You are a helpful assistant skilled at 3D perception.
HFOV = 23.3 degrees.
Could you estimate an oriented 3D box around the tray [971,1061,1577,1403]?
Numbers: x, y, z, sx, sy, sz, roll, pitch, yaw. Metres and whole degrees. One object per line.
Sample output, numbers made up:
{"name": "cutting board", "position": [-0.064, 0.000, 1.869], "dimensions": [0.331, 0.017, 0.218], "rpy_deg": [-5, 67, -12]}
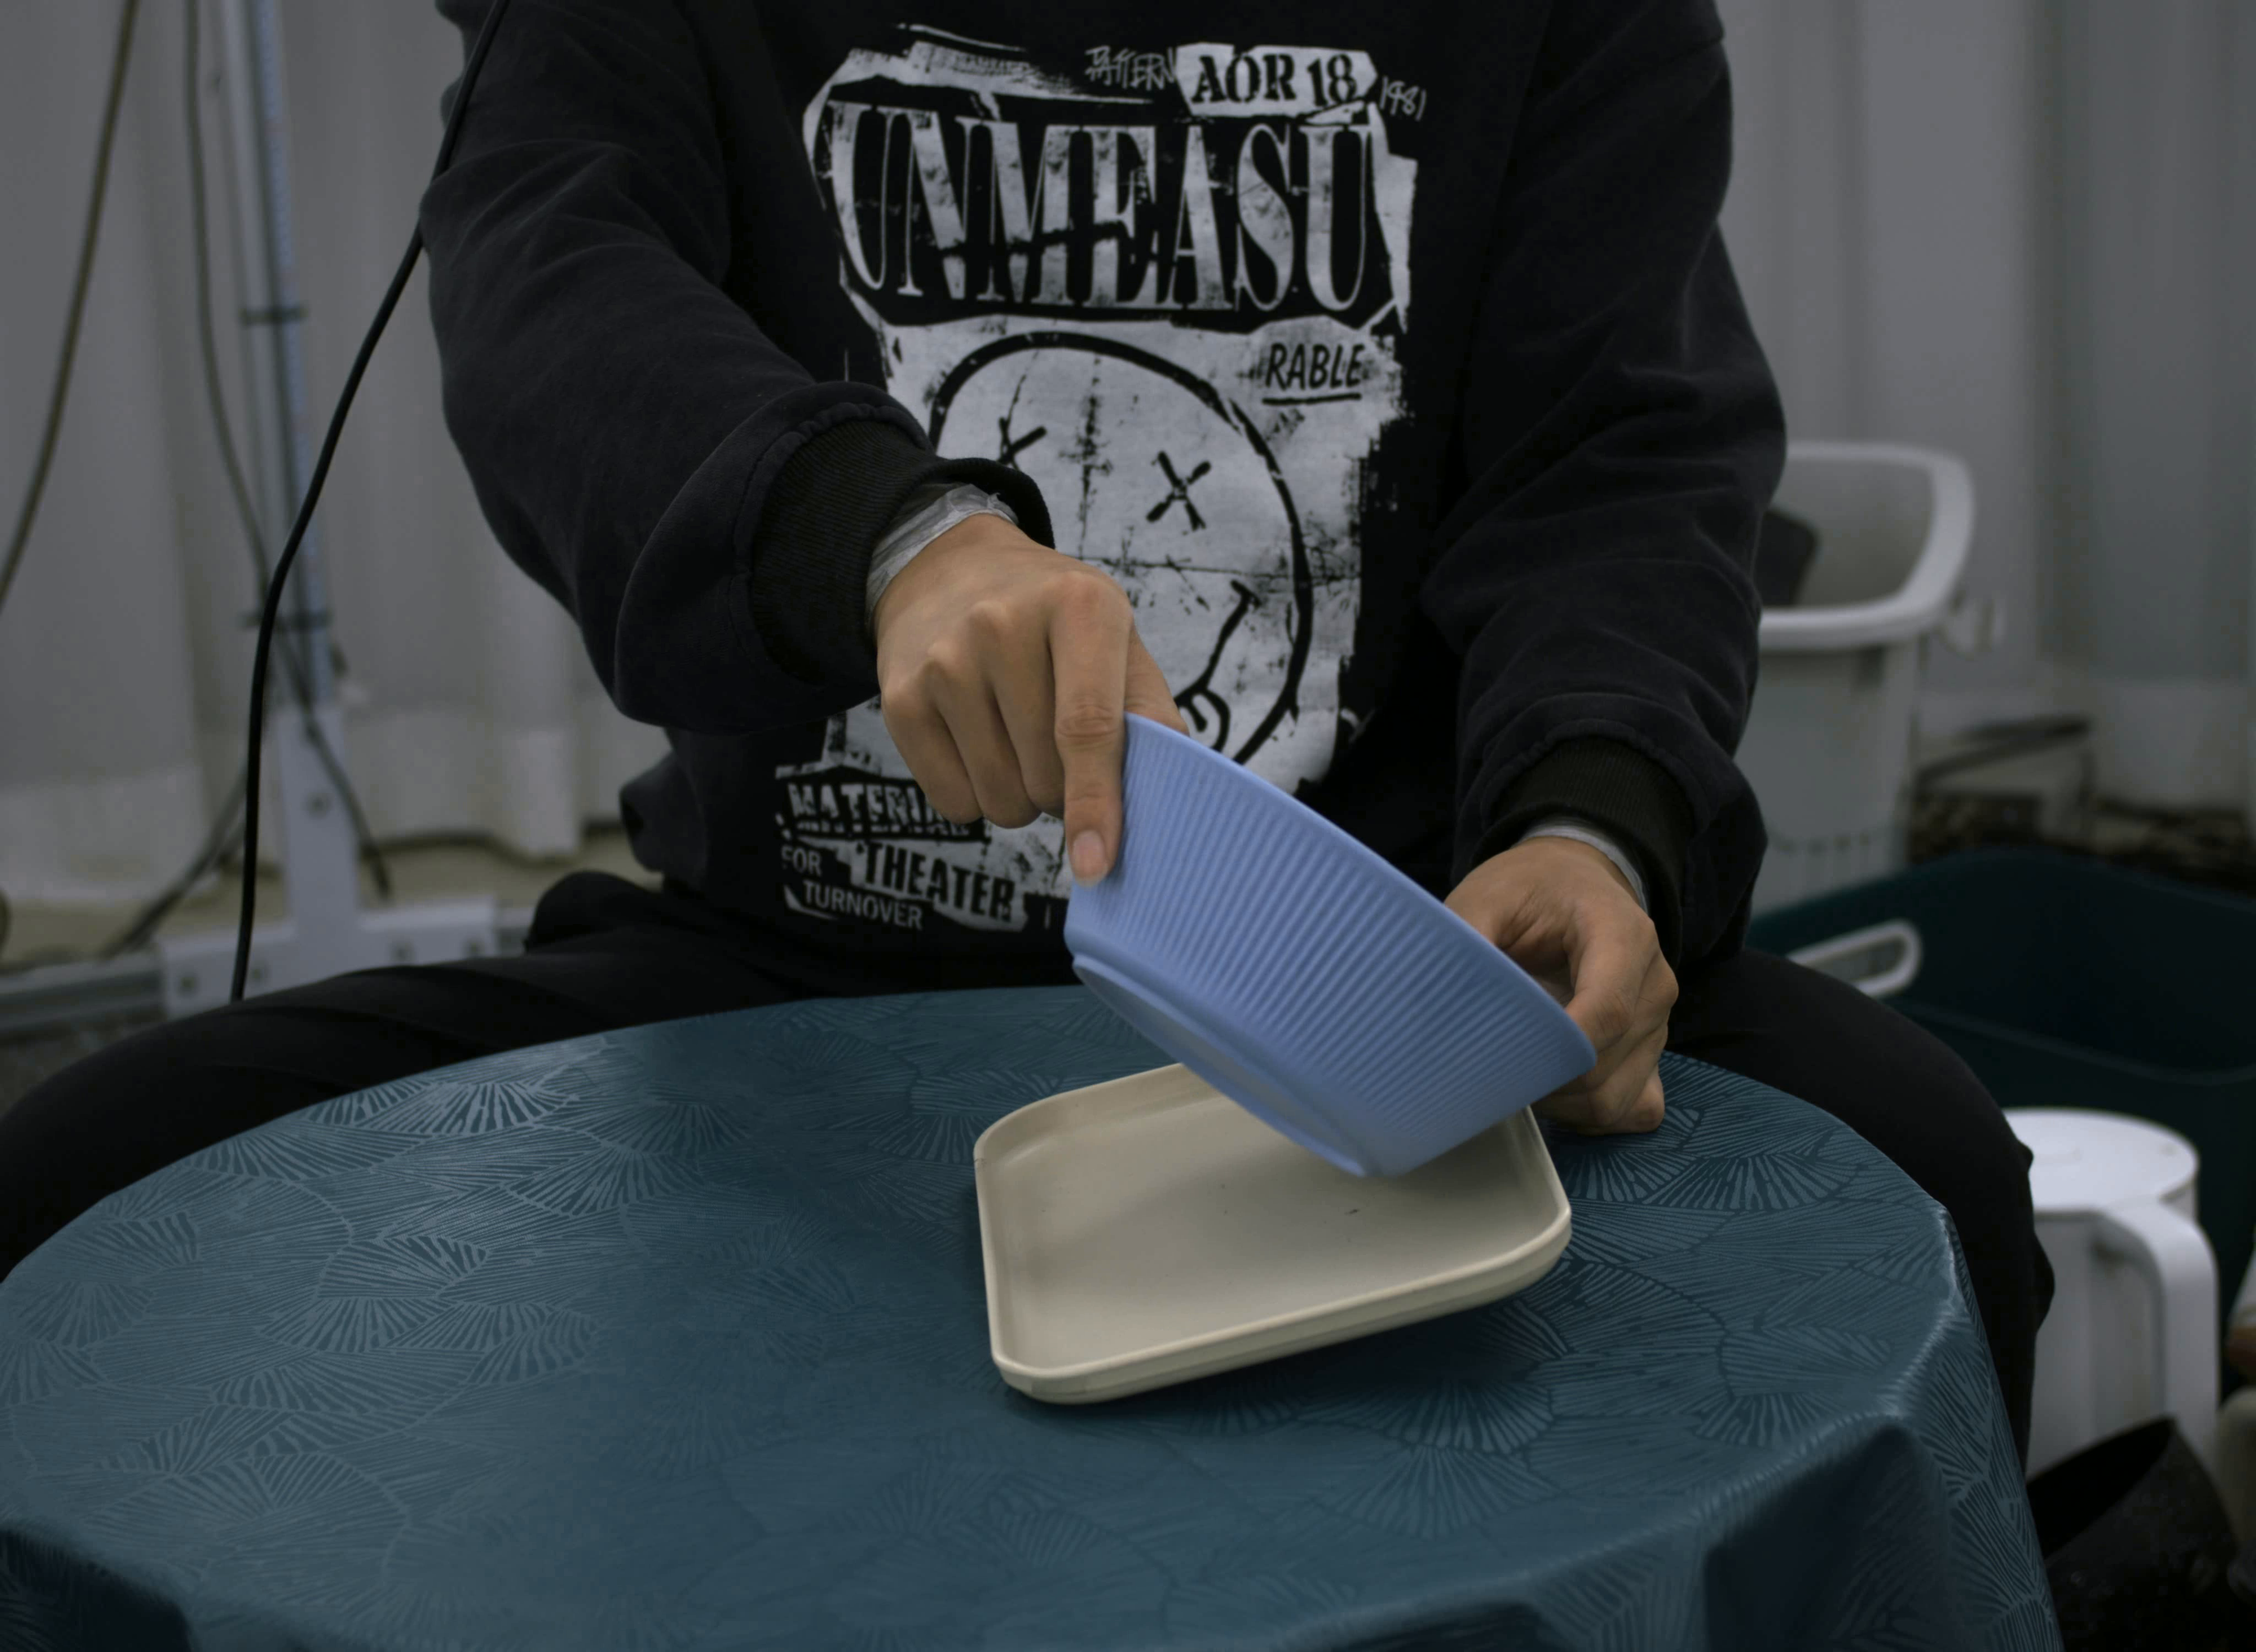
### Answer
{"name": "tray", "position": [0.040, 0.111, 1.630], "dimensions": [0.171, 0.017, 0.241], "rpy_deg": [-14, 16, 0]}

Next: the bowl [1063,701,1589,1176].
{"name": "bowl", "position": [0.046, 0.043, 1.601], "dimensions": [0.070, 0.174, 0.177], "rpy_deg": [-52, 29, -8]}
